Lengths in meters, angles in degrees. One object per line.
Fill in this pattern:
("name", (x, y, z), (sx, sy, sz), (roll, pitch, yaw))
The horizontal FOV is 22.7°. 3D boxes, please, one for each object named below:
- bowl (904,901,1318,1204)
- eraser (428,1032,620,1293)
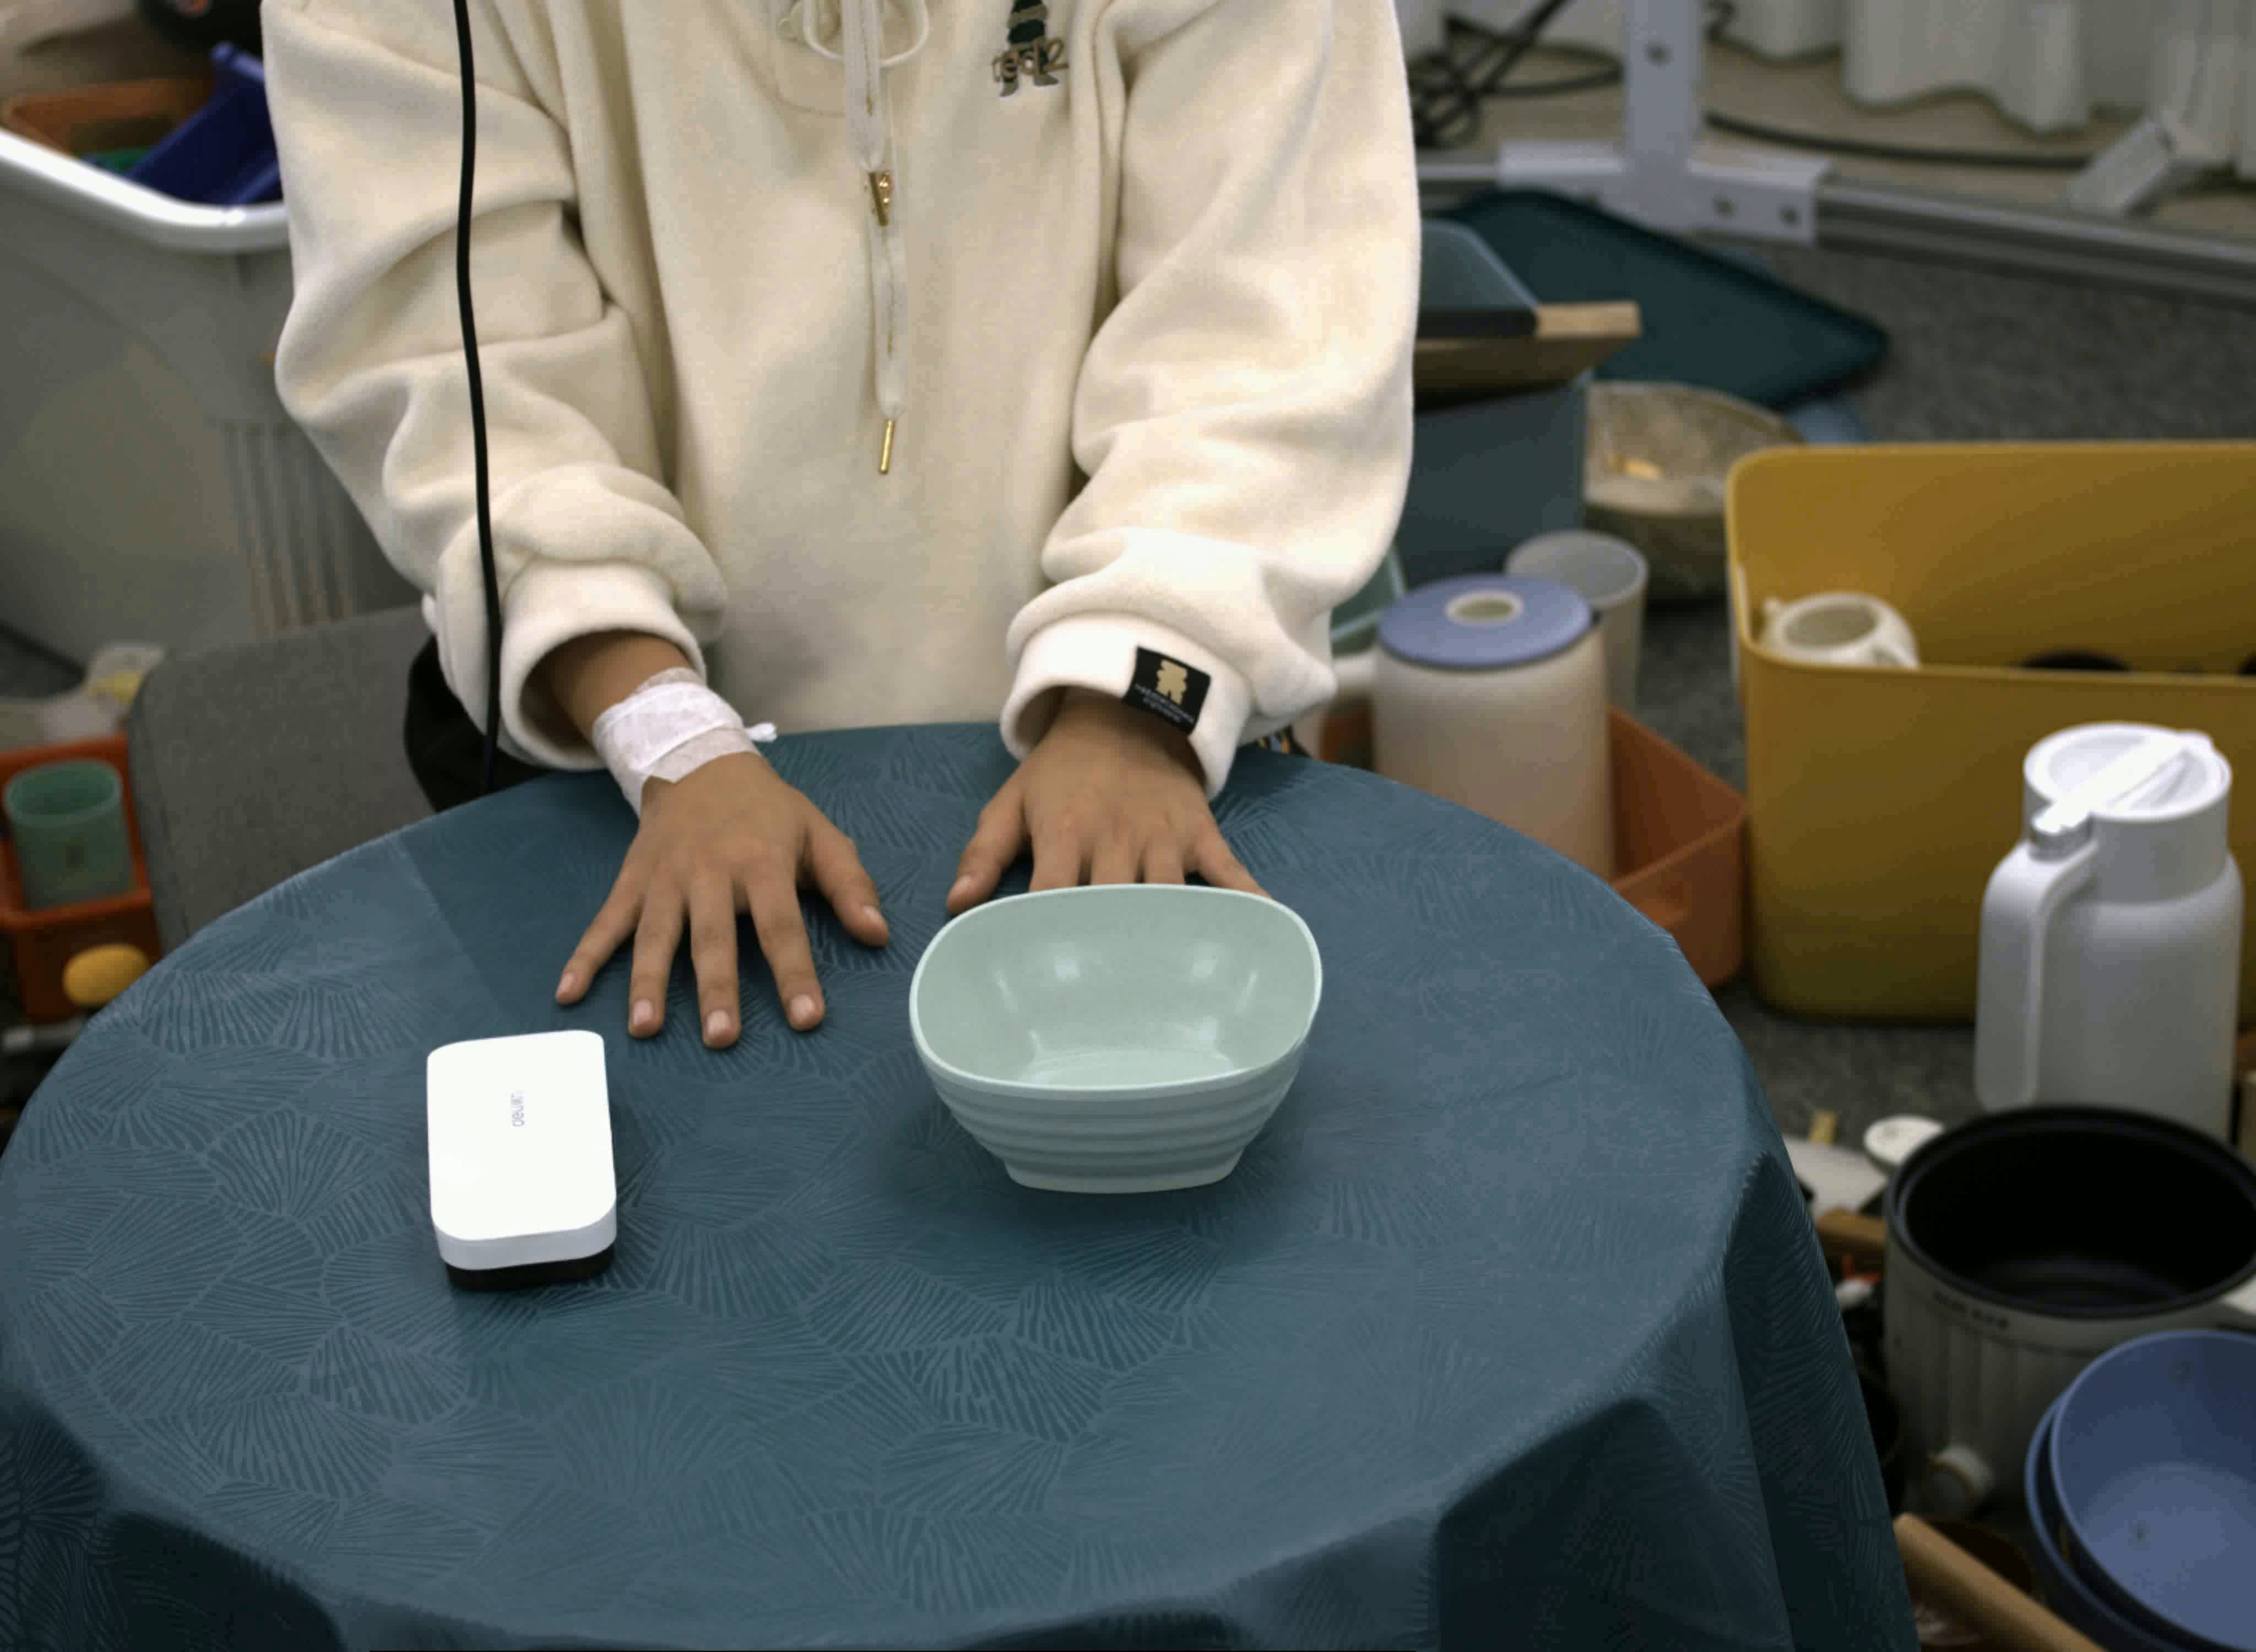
("bowl", (-0.005, 0.081, 1.886), (0.151, 0.058, 0.153), (-1, 25, 1))
("eraser", (-0.201, 0.109, 1.874), (0.063, 0.034, 0.133), (-6, 28, -5))
